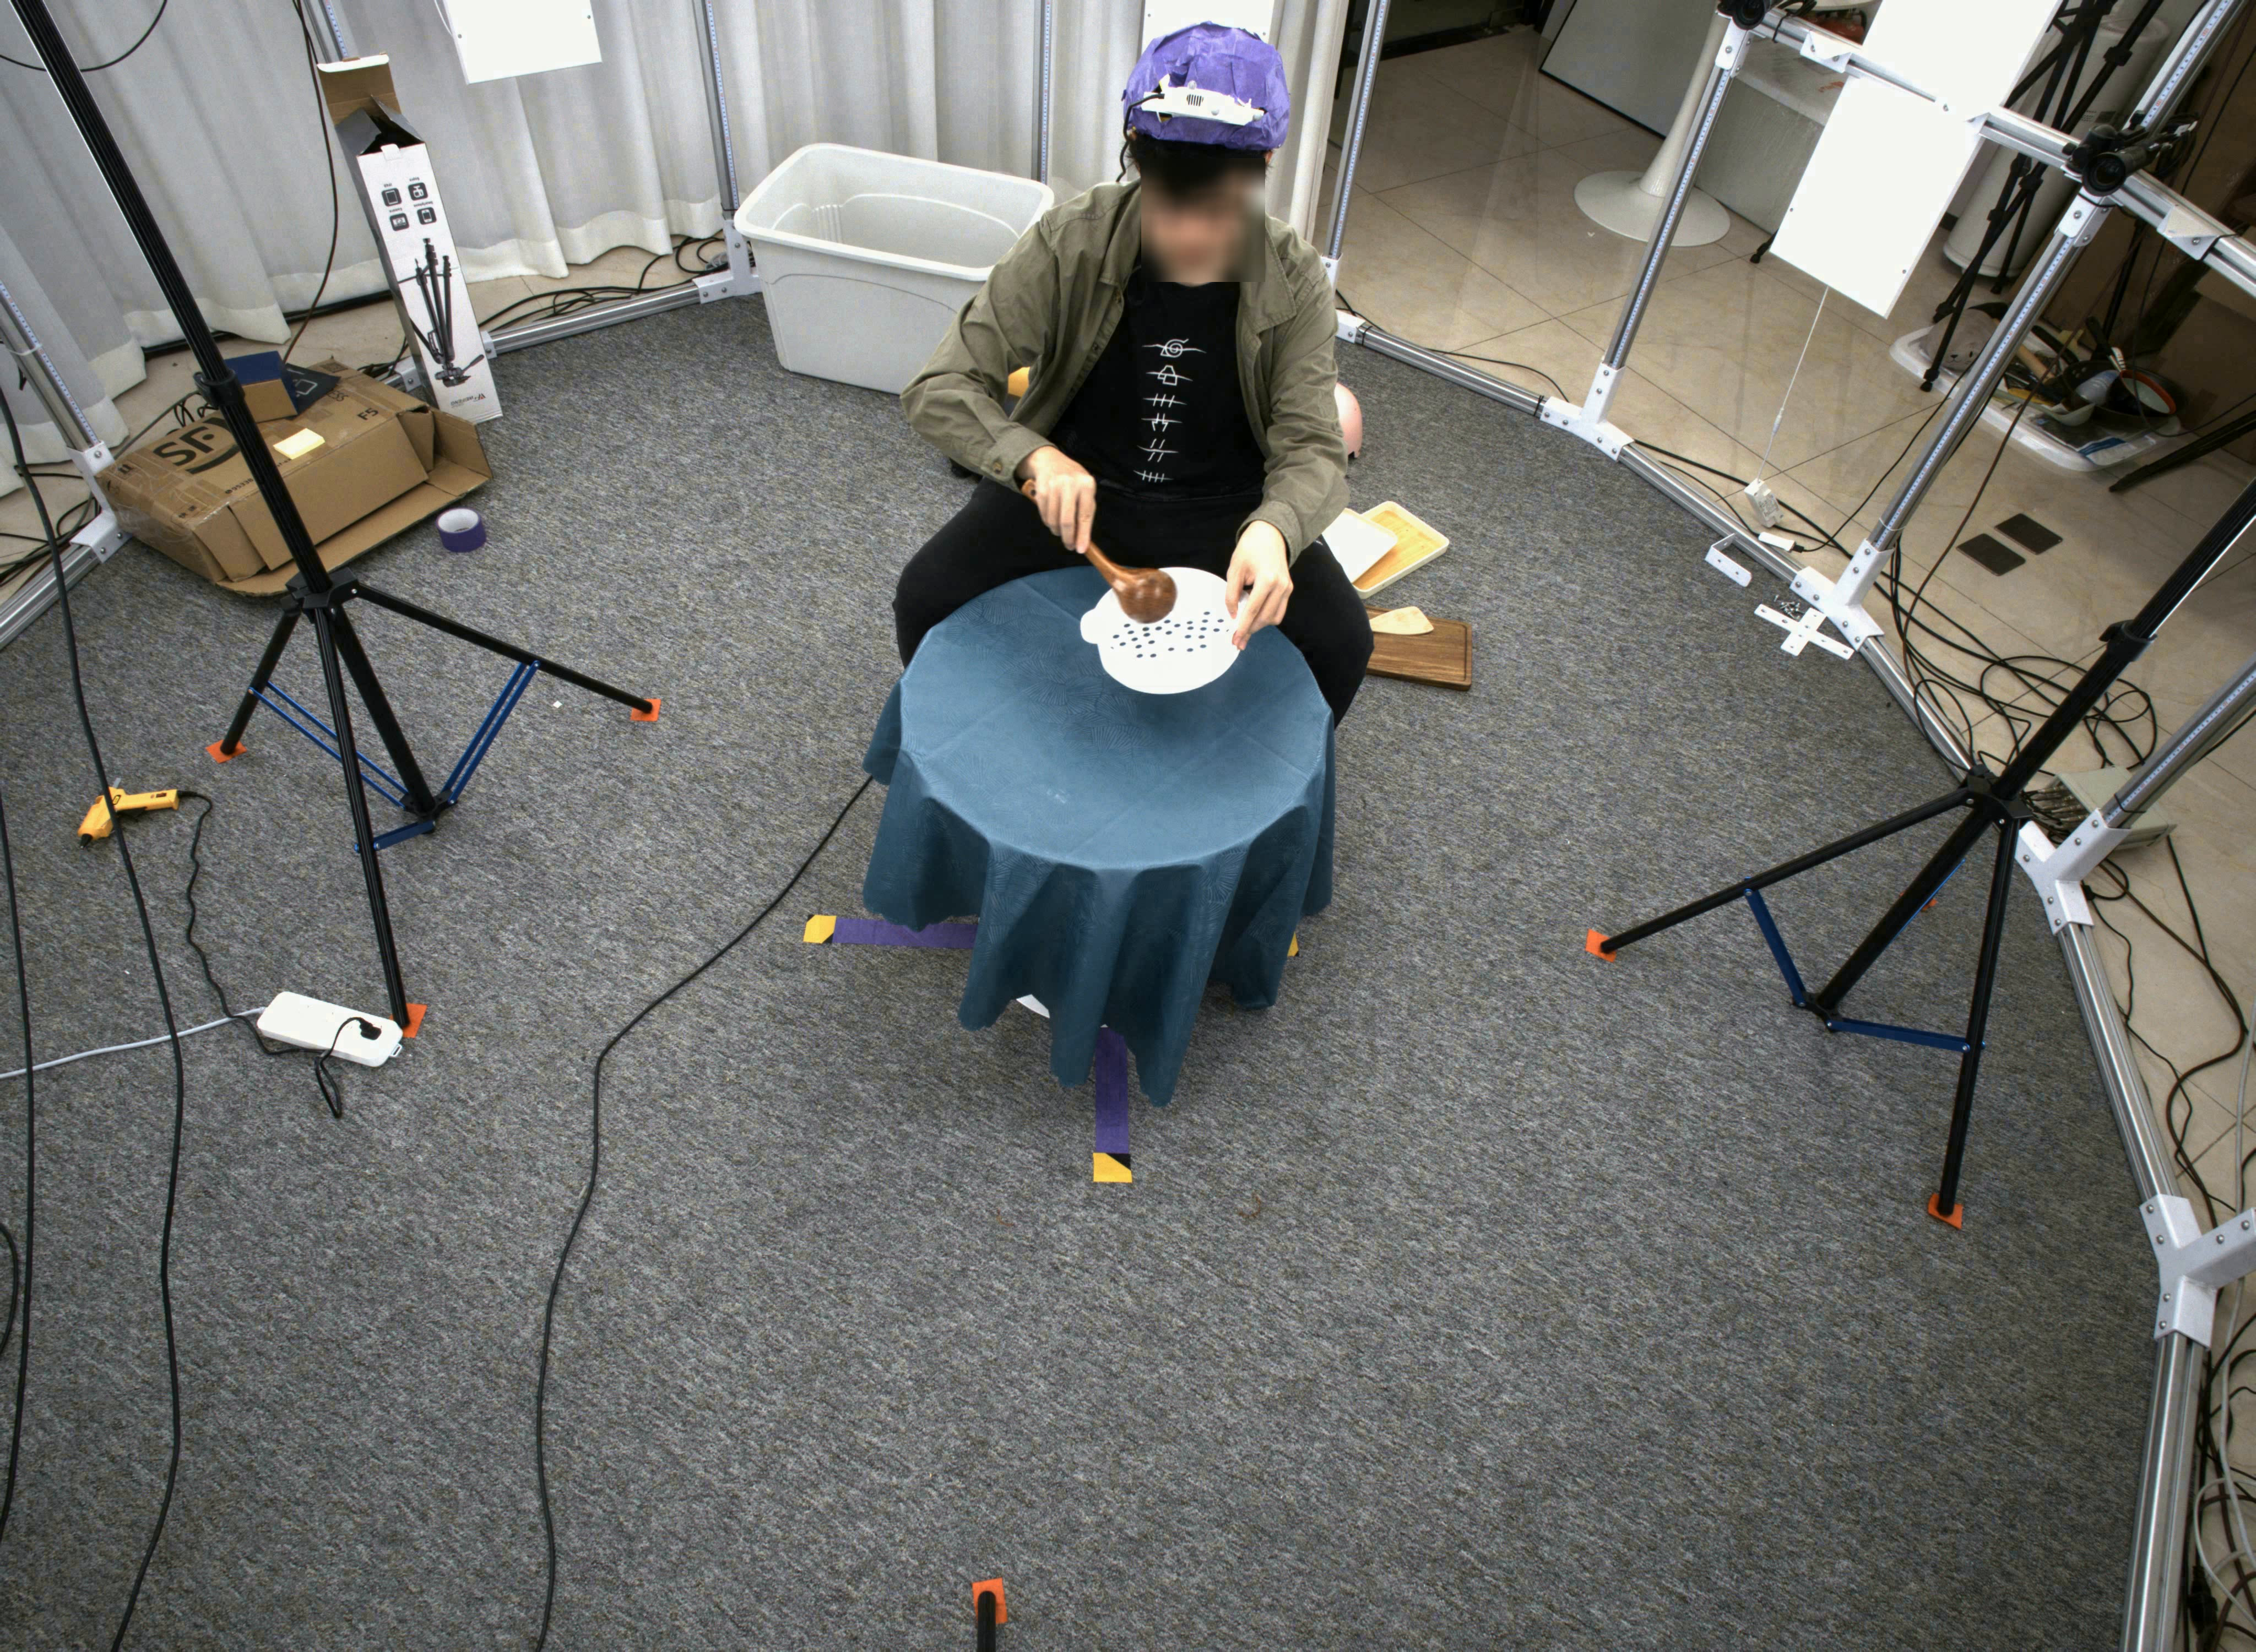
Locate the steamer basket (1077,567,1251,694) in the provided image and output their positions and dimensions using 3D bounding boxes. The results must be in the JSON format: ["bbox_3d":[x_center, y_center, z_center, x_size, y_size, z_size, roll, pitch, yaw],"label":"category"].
[{"bbox_3d":[0.050,-0.261,1.720,0.230,0.067,0.207,-8,45,2],"label":"steamer basket"}]

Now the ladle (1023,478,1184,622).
[{"bbox_3d":[-0.033,-0.385,1.764,0.278,0.081,0.076,48,26,20],"label":"ladle"}]
